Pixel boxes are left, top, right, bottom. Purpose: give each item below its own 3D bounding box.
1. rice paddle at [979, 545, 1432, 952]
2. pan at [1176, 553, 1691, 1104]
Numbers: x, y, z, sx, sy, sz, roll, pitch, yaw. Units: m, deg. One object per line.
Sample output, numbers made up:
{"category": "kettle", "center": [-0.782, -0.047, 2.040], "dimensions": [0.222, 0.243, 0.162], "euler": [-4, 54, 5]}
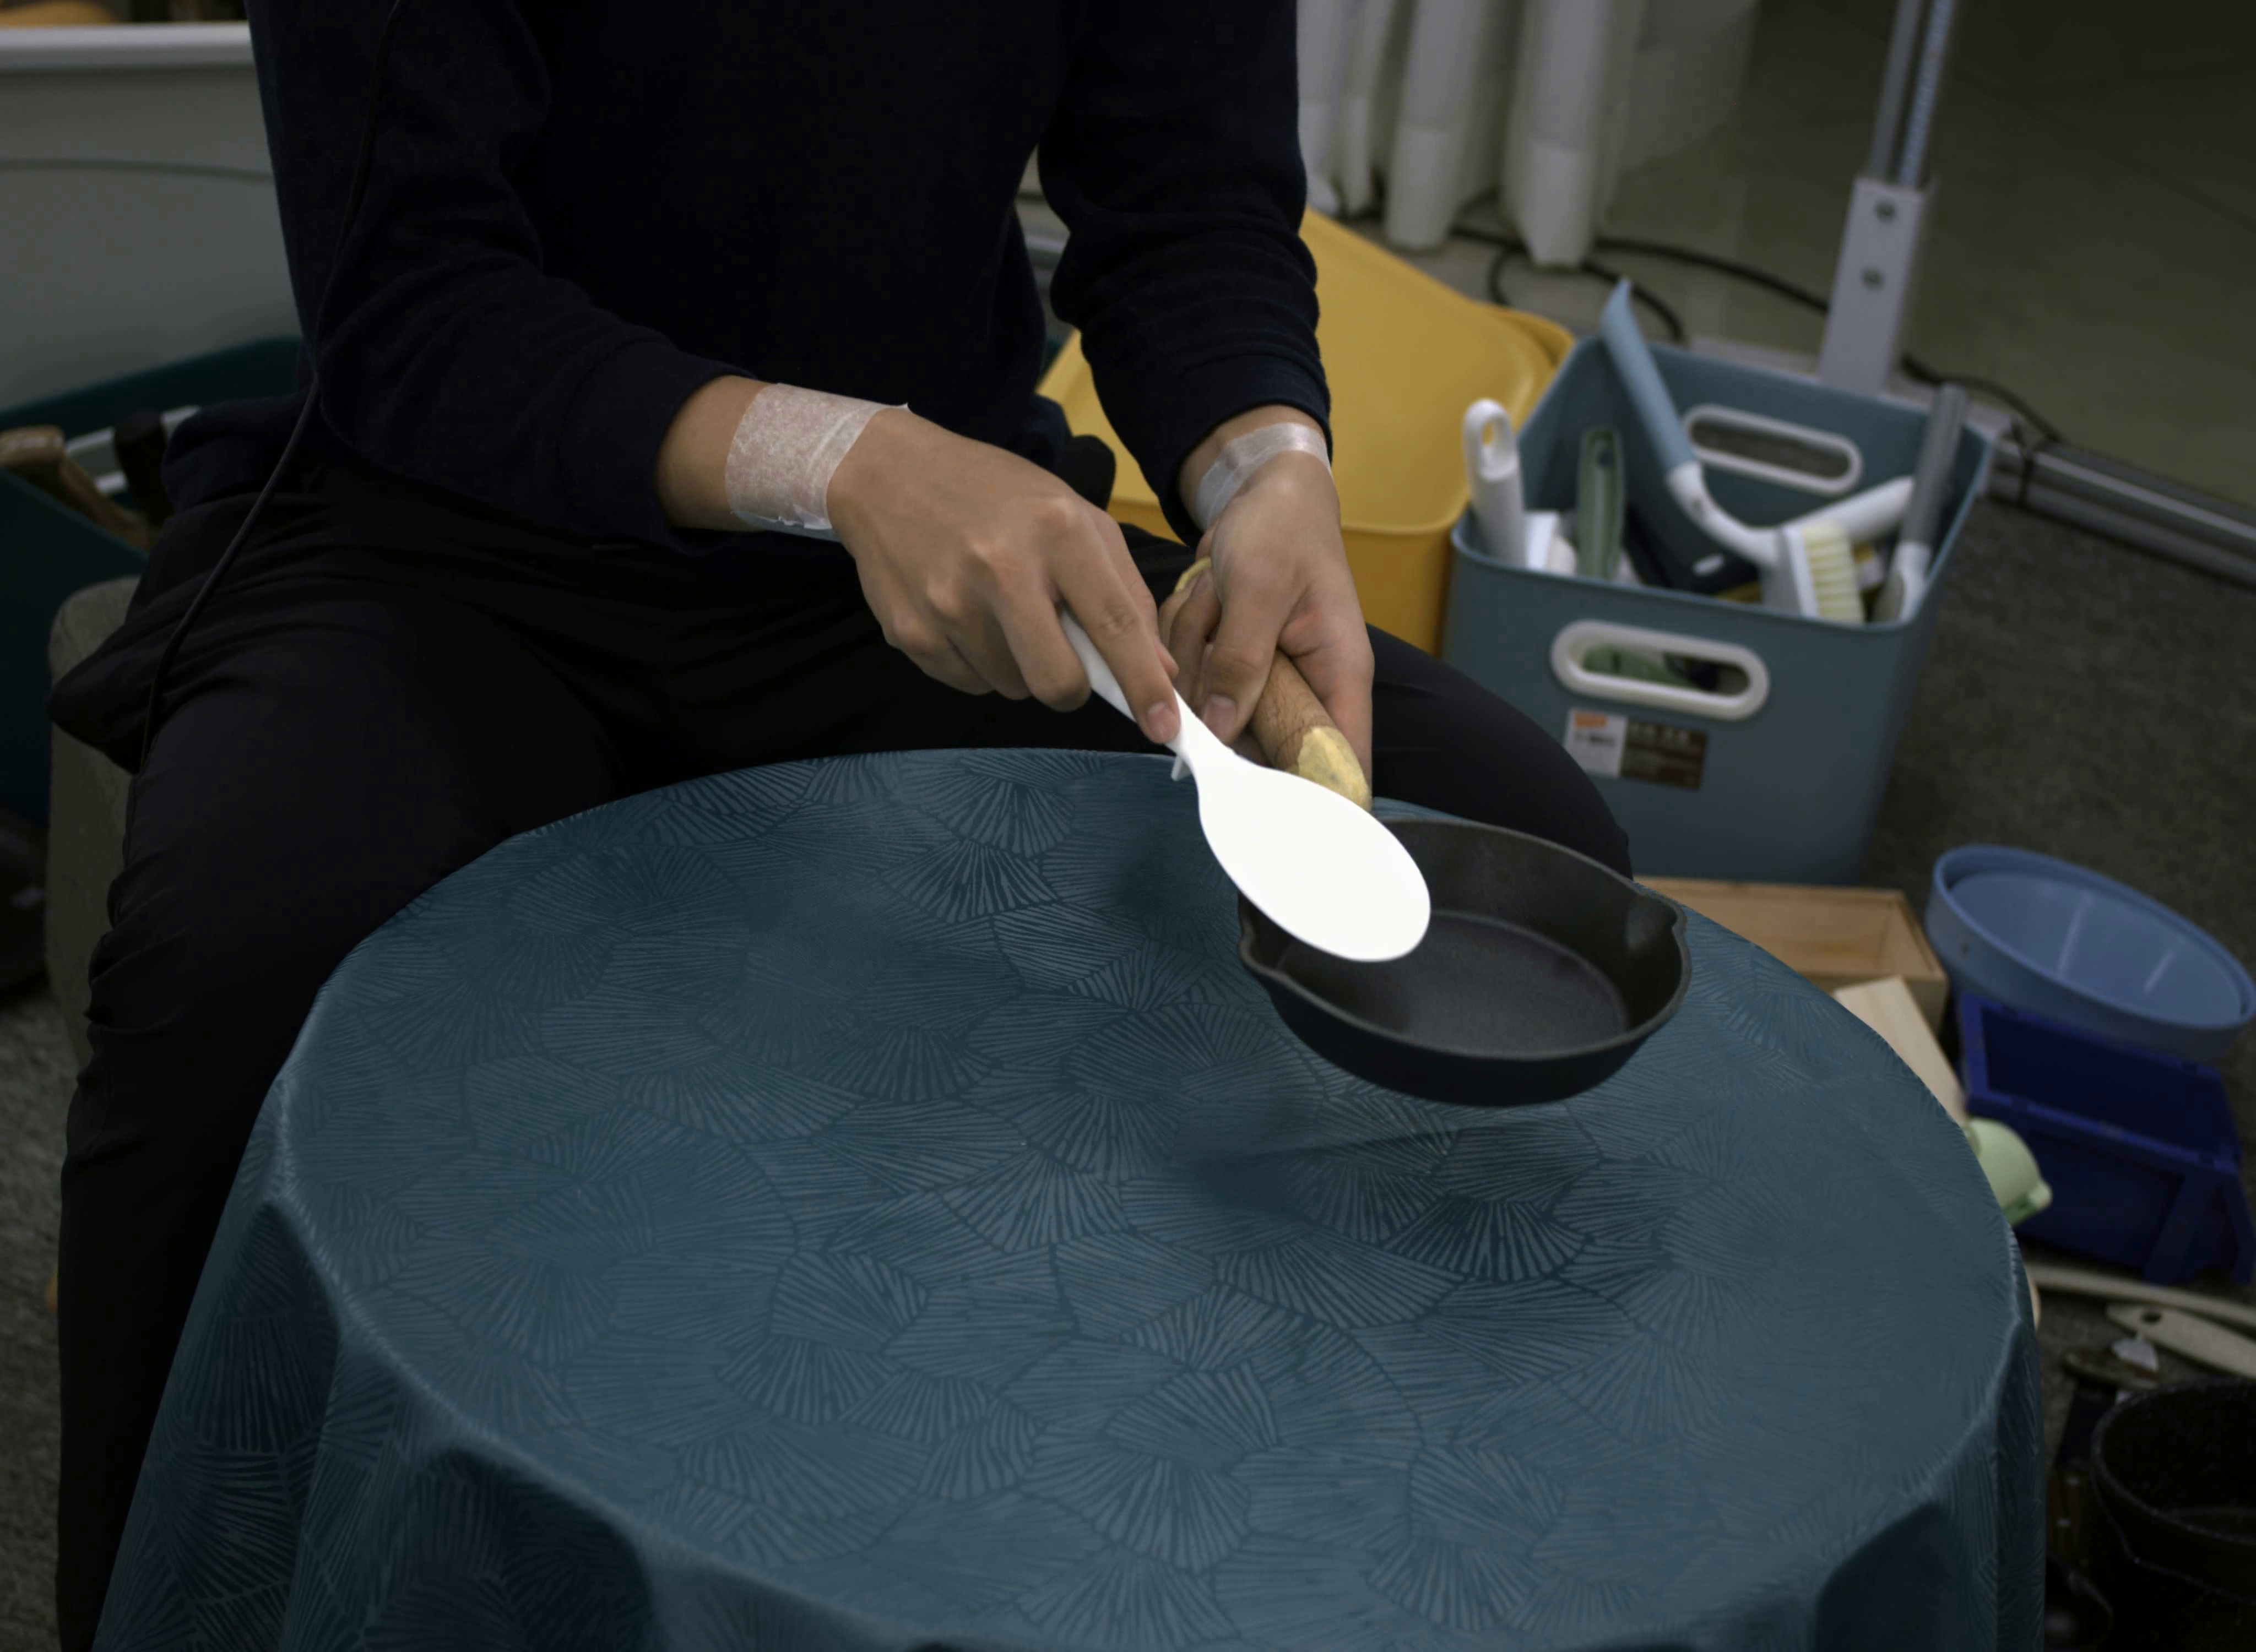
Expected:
{"category": "rice paddle", "center": [0.027, -0.026, 1.855], "dimensions": [0.068, 0.029, 0.206], "euler": [-28, 59, -37]}
{"category": "pan", "center": [0.084, -0.002, 1.891], "dimensions": [0.168, 0.049, 0.327], "euler": [-4, 33, -21]}
